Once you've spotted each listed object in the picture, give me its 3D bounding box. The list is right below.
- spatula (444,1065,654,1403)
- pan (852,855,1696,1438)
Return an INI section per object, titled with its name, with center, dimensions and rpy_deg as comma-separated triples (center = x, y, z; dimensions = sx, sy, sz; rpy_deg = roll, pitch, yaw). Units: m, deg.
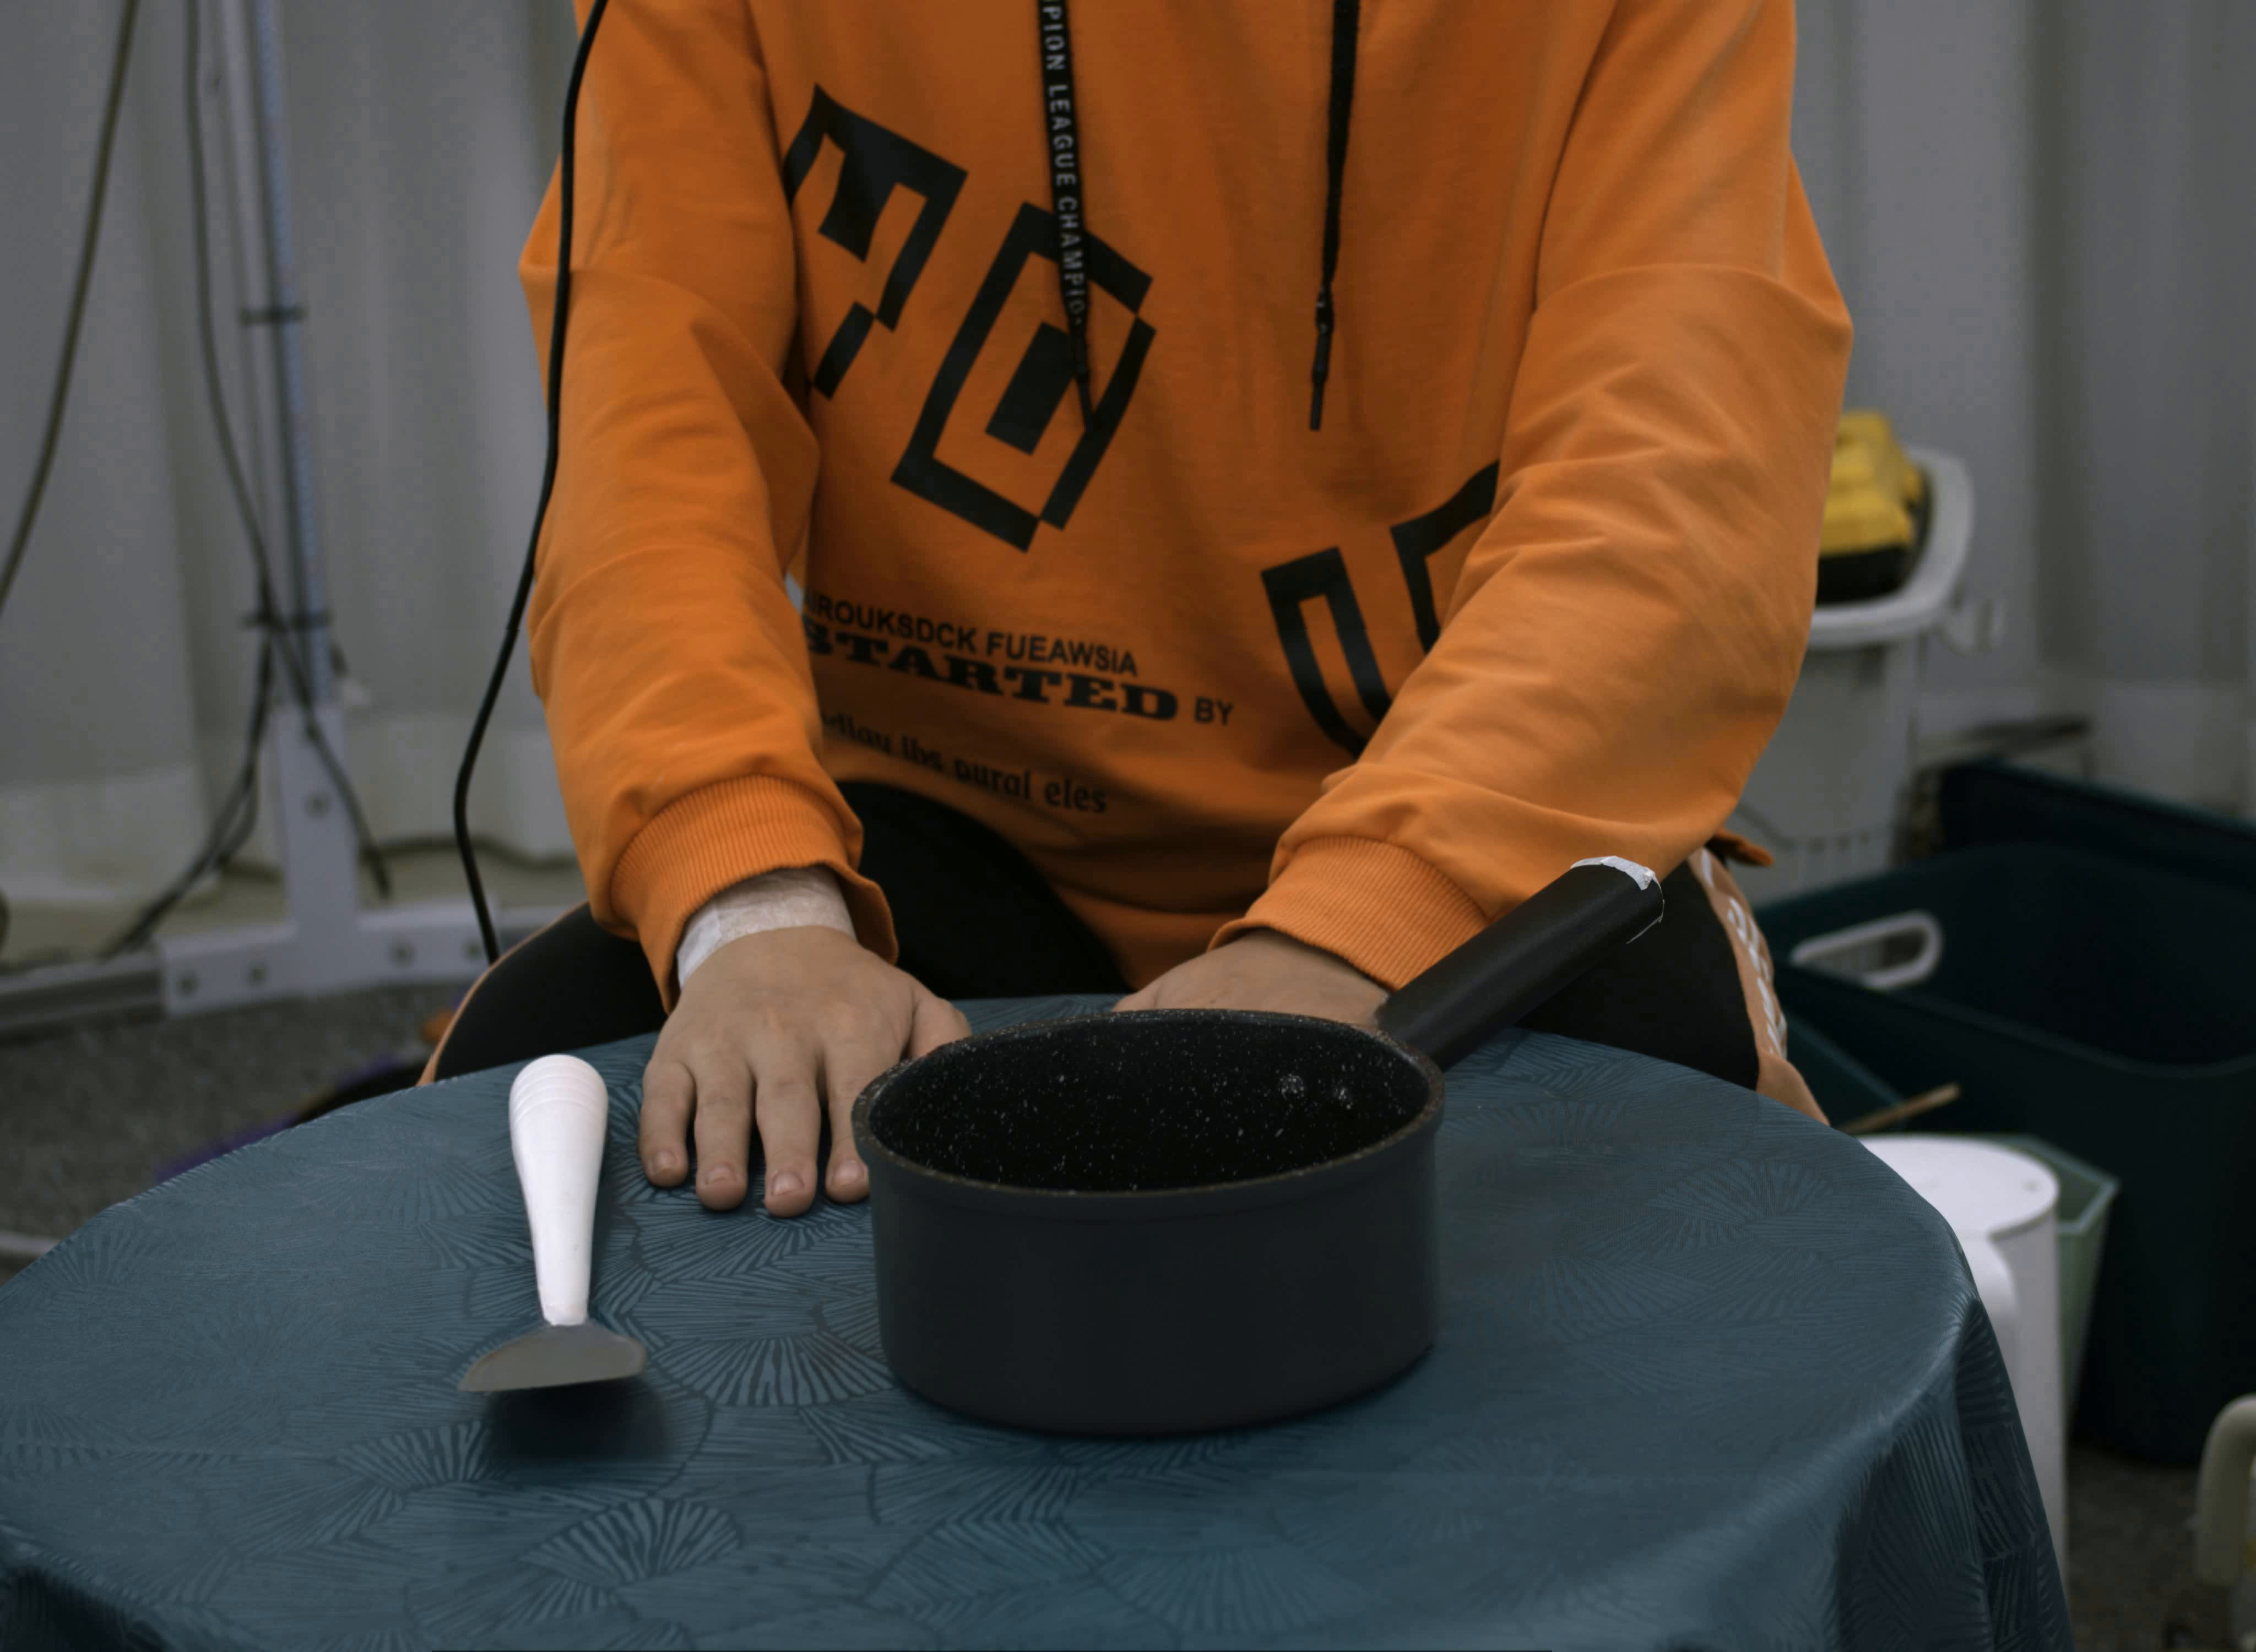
[spatula]
center = -0.172, 0.128, 1.640
dimensions = 0.058, 0.032, 0.289
rpy_deg = -3, 14, -5
[pan]
center = 0.060, 0.091, 1.628
dimensions = 0.173, 0.086, 0.328
rpy_deg = 11, 22, 41
